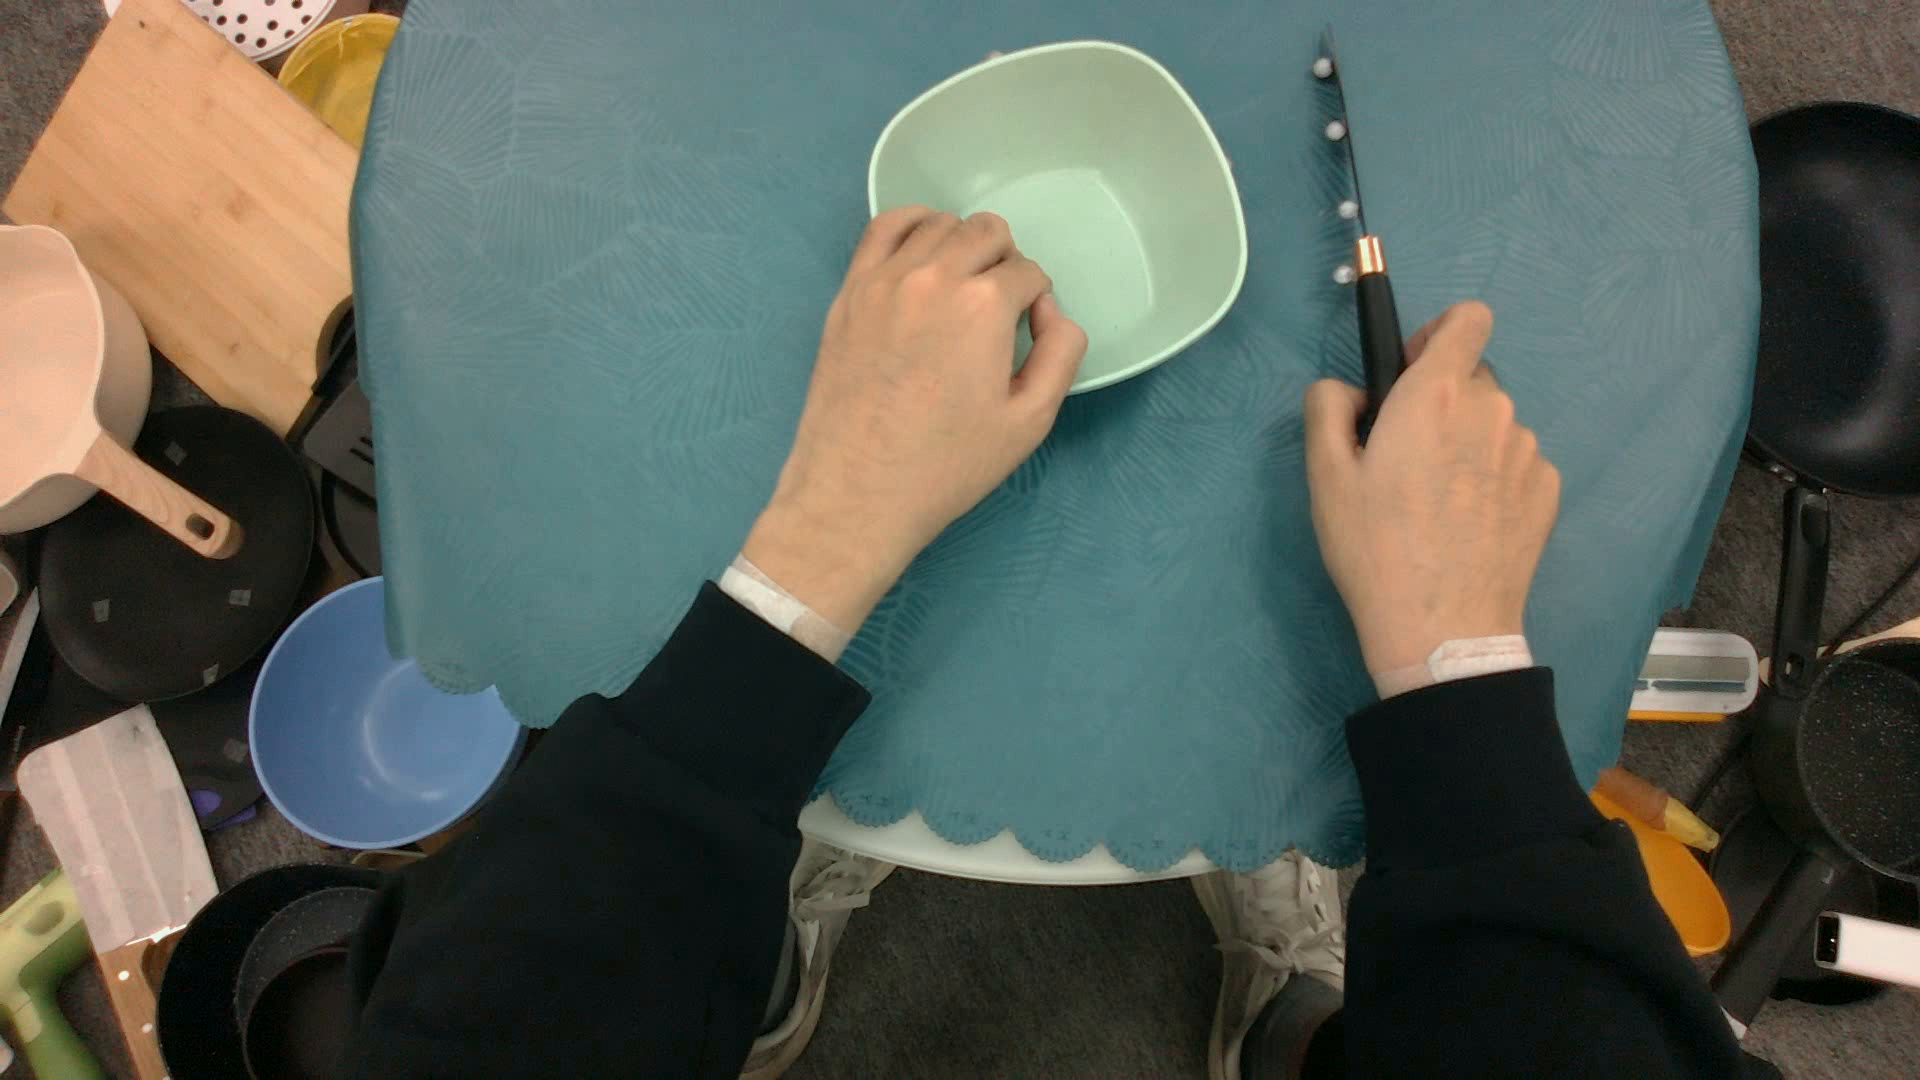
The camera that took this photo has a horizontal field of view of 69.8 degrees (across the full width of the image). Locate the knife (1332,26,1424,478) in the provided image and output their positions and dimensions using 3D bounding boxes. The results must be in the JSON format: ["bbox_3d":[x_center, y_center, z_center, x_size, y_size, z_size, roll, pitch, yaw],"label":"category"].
[{"bbox_3d":[0.168,-0.127,0.569,0.017,0.026,0.226,-12,66,24],"label":"knife"}]

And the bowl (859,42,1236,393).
[{"bbox_3d":[0.033,-0.122,0.558,0.151,0.058,0.152,0,78,-1],"label":"bowl"}]
